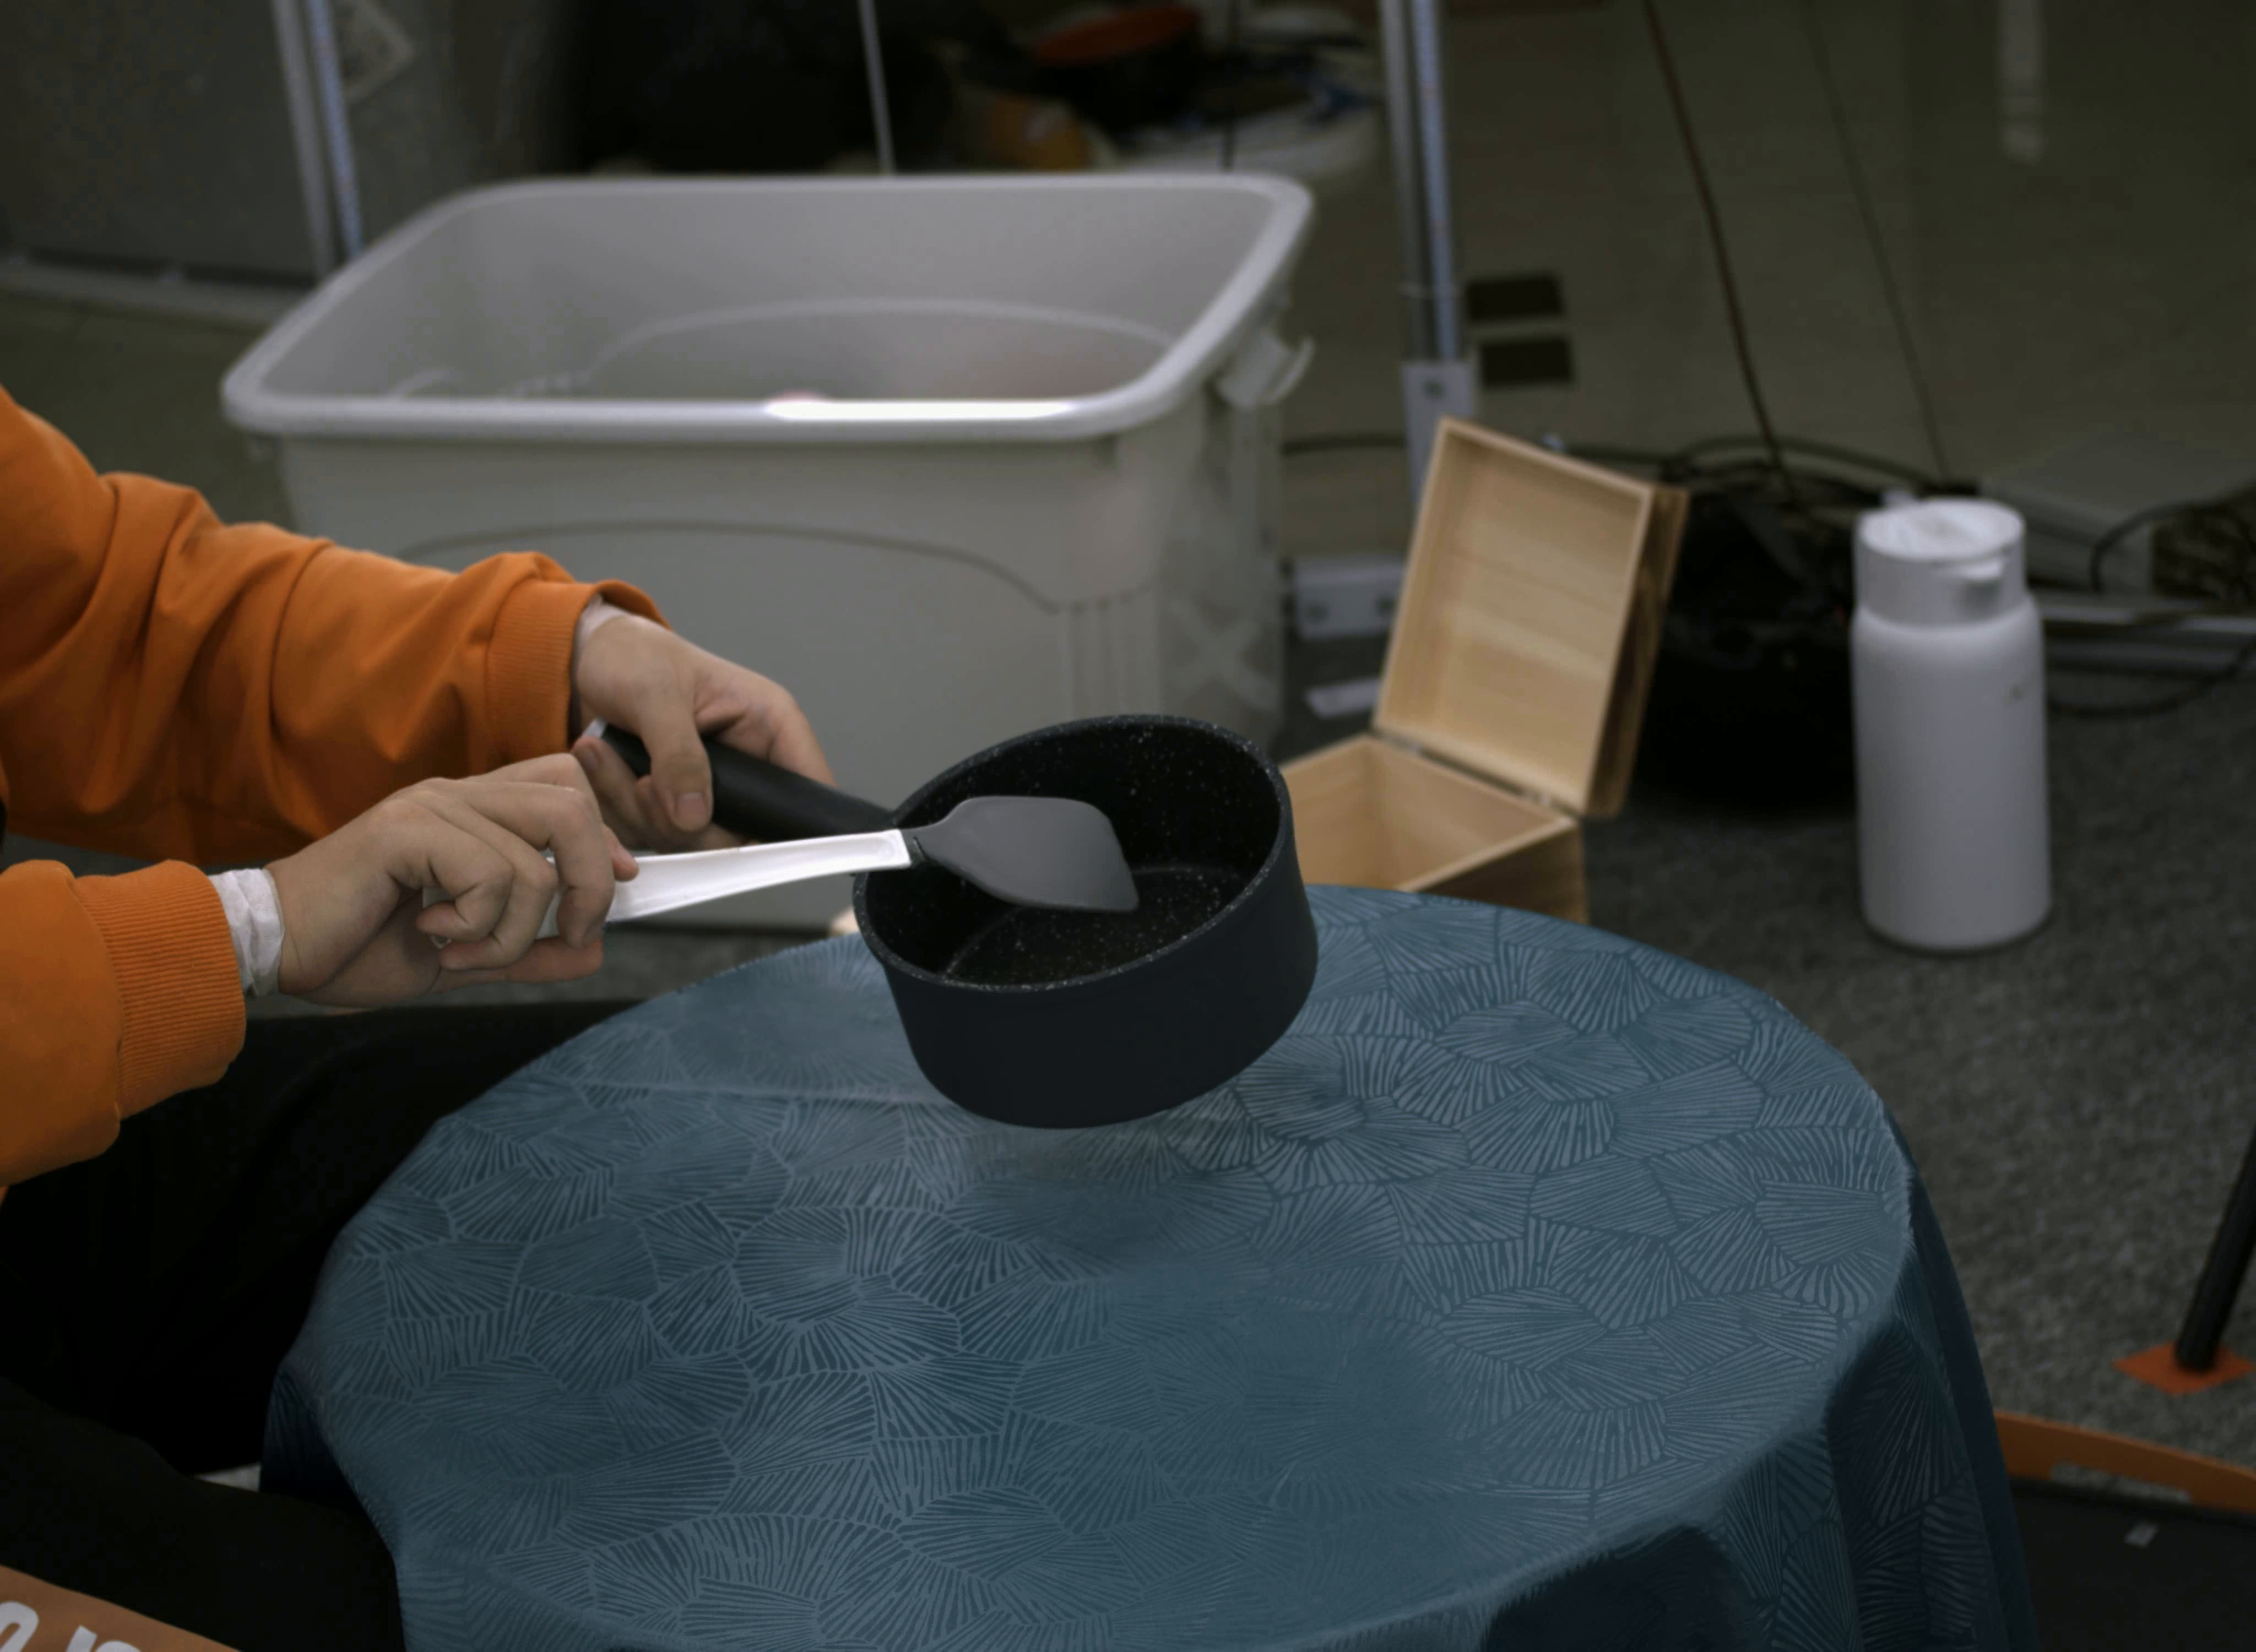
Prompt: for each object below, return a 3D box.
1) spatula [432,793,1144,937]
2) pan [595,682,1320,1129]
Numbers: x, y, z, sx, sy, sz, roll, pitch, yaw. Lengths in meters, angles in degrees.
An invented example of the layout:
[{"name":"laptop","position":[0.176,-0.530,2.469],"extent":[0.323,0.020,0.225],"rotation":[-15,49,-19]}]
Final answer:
[{"name":"spatula","position":[-0.119,0.016,2.096],"extent":[0.287,0.033,0.058],"rotation":[-4,56,-30]},{"name":"pan","position":[-0.075,0.018,2.210],"extent":[0.326,0.088,0.170],"rotation":[16,46,36]}]
